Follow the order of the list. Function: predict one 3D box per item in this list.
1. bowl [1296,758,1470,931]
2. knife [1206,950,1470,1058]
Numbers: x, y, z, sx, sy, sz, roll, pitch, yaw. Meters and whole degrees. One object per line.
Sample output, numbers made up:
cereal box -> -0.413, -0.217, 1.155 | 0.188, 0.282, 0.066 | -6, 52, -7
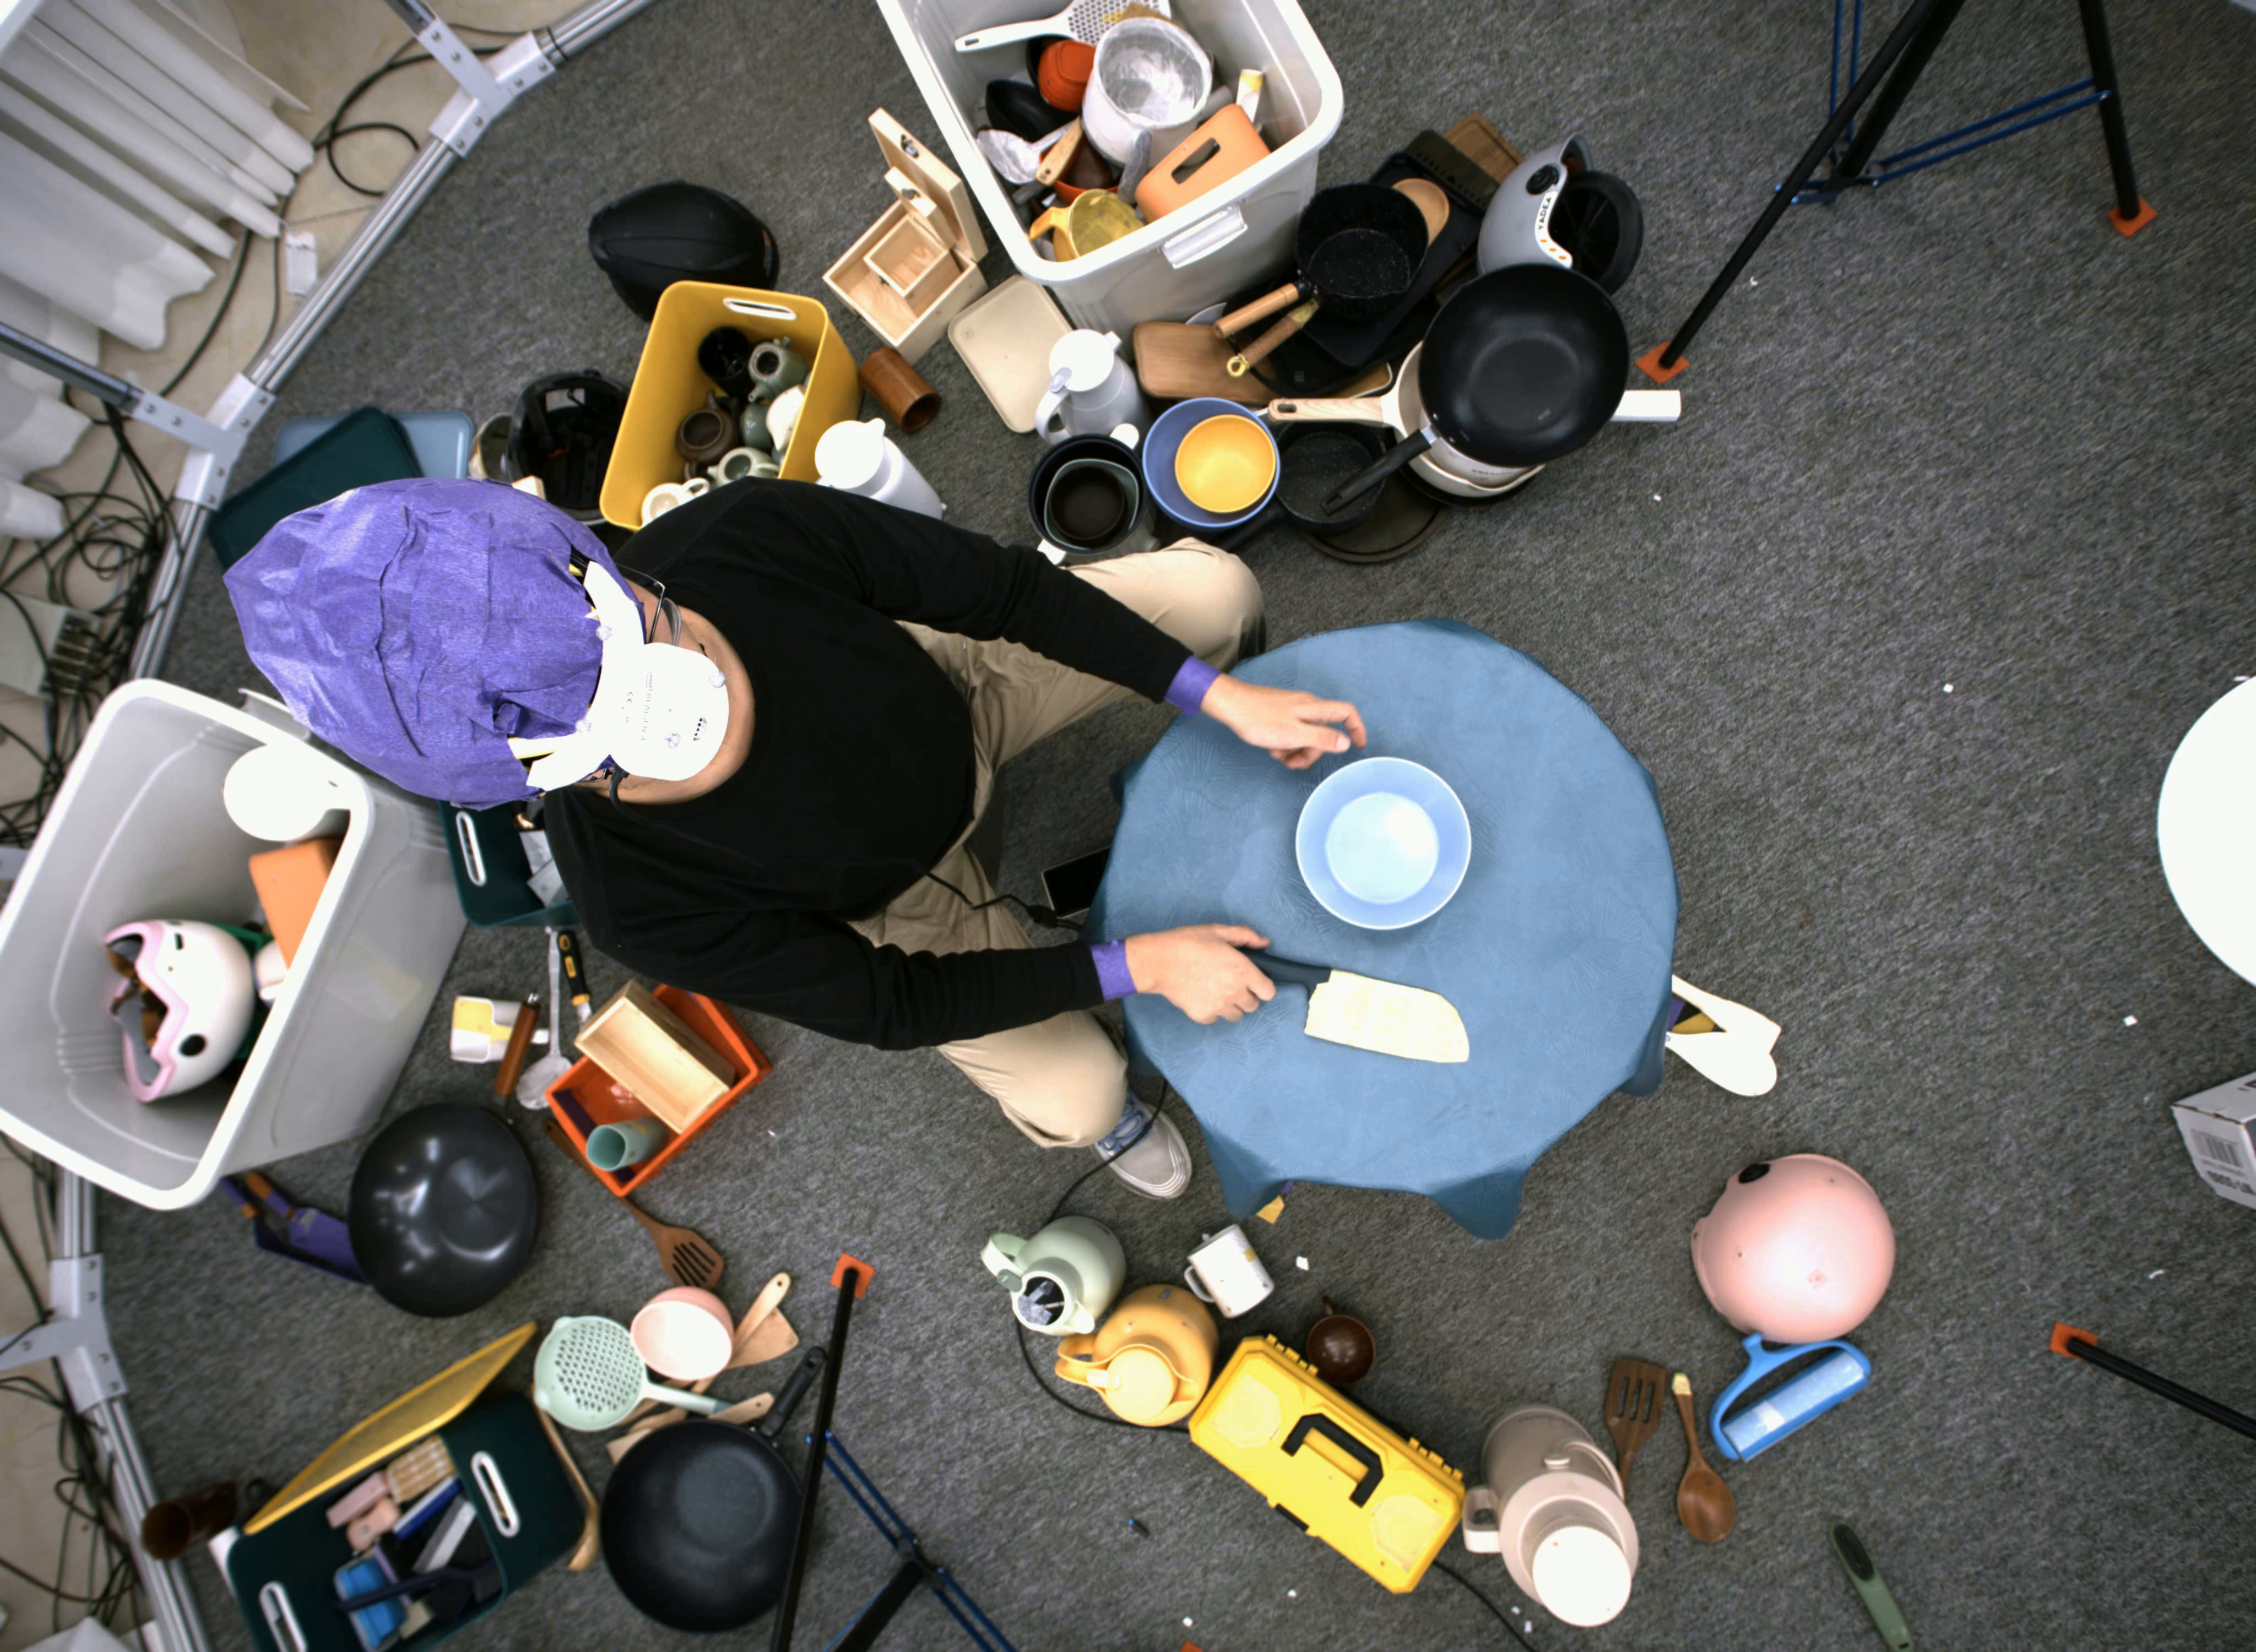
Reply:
bowl -> 0.264, 0.020, 1.430 | 0.177, 0.070, 0.175 | -1, 87, 11
knife -> 0.218, 0.185, 1.459 | 0.290, 0.027, 0.081 | 15, 87, 10
